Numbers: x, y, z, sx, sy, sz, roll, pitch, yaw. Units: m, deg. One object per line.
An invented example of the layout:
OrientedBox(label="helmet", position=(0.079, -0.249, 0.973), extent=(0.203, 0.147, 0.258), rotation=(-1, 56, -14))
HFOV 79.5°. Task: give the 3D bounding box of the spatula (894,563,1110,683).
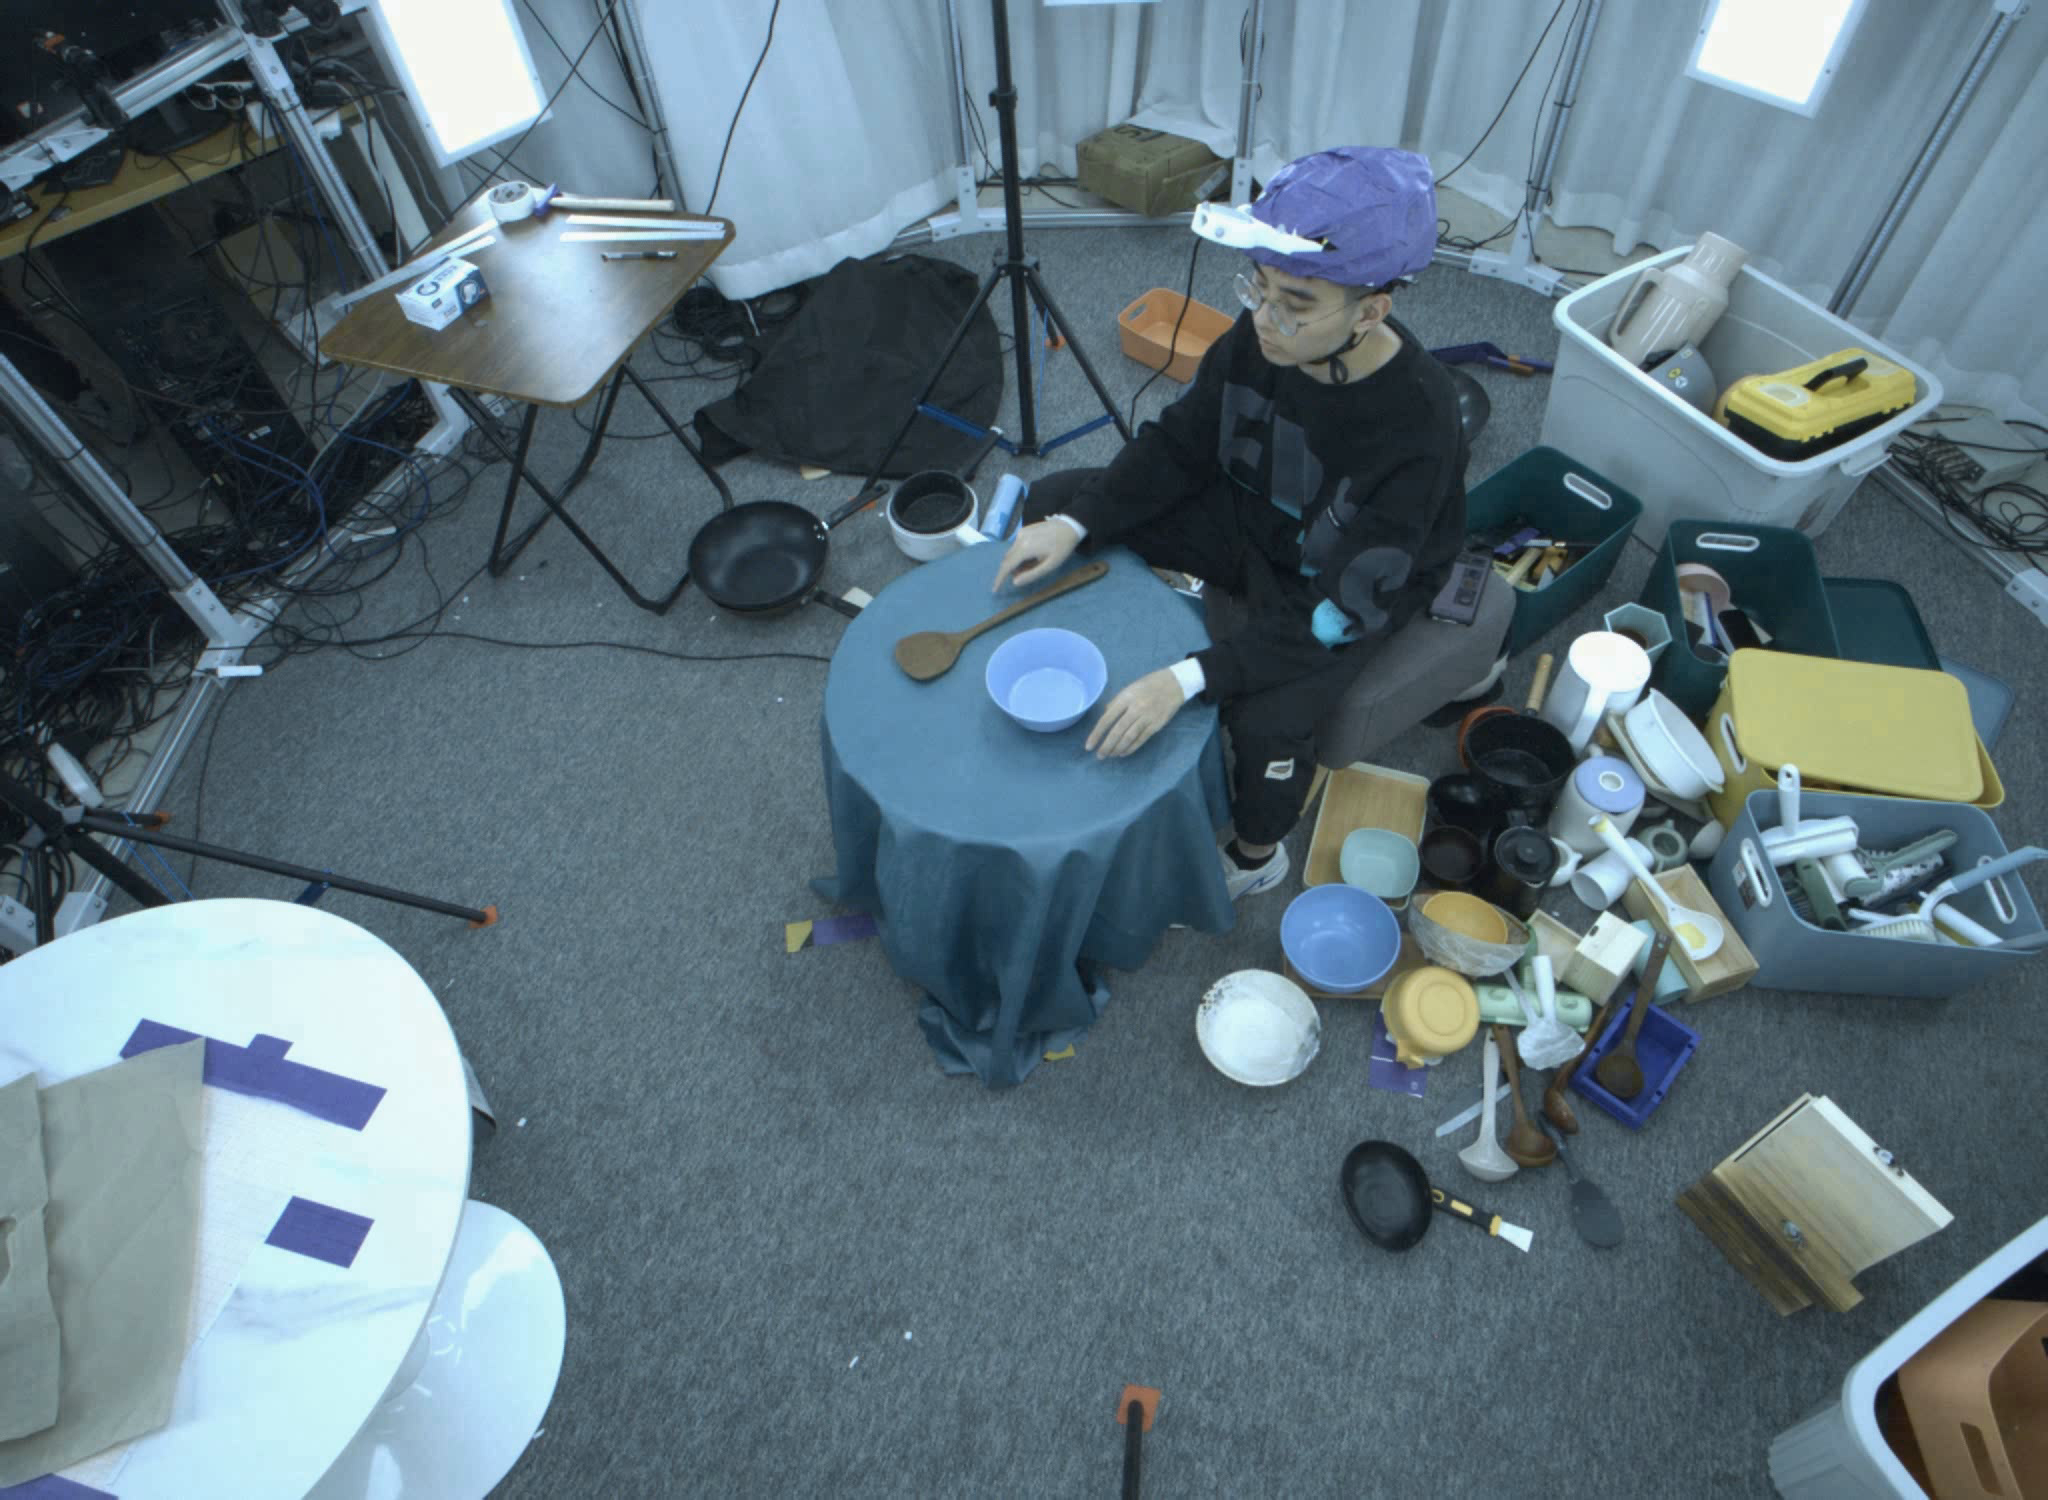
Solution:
OrientedBox(label="spatula", position=(-0.026, -0.212, 1.939), extent=(0.389, 0.016, 0.094), rotation=(-29, 59, -18))

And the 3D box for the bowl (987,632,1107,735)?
OrientedBox(label="bowl", position=(0.034, -0.088, 1.816), extent=(0.176, 0.071, 0.174), rotation=(0, 55, 1))
